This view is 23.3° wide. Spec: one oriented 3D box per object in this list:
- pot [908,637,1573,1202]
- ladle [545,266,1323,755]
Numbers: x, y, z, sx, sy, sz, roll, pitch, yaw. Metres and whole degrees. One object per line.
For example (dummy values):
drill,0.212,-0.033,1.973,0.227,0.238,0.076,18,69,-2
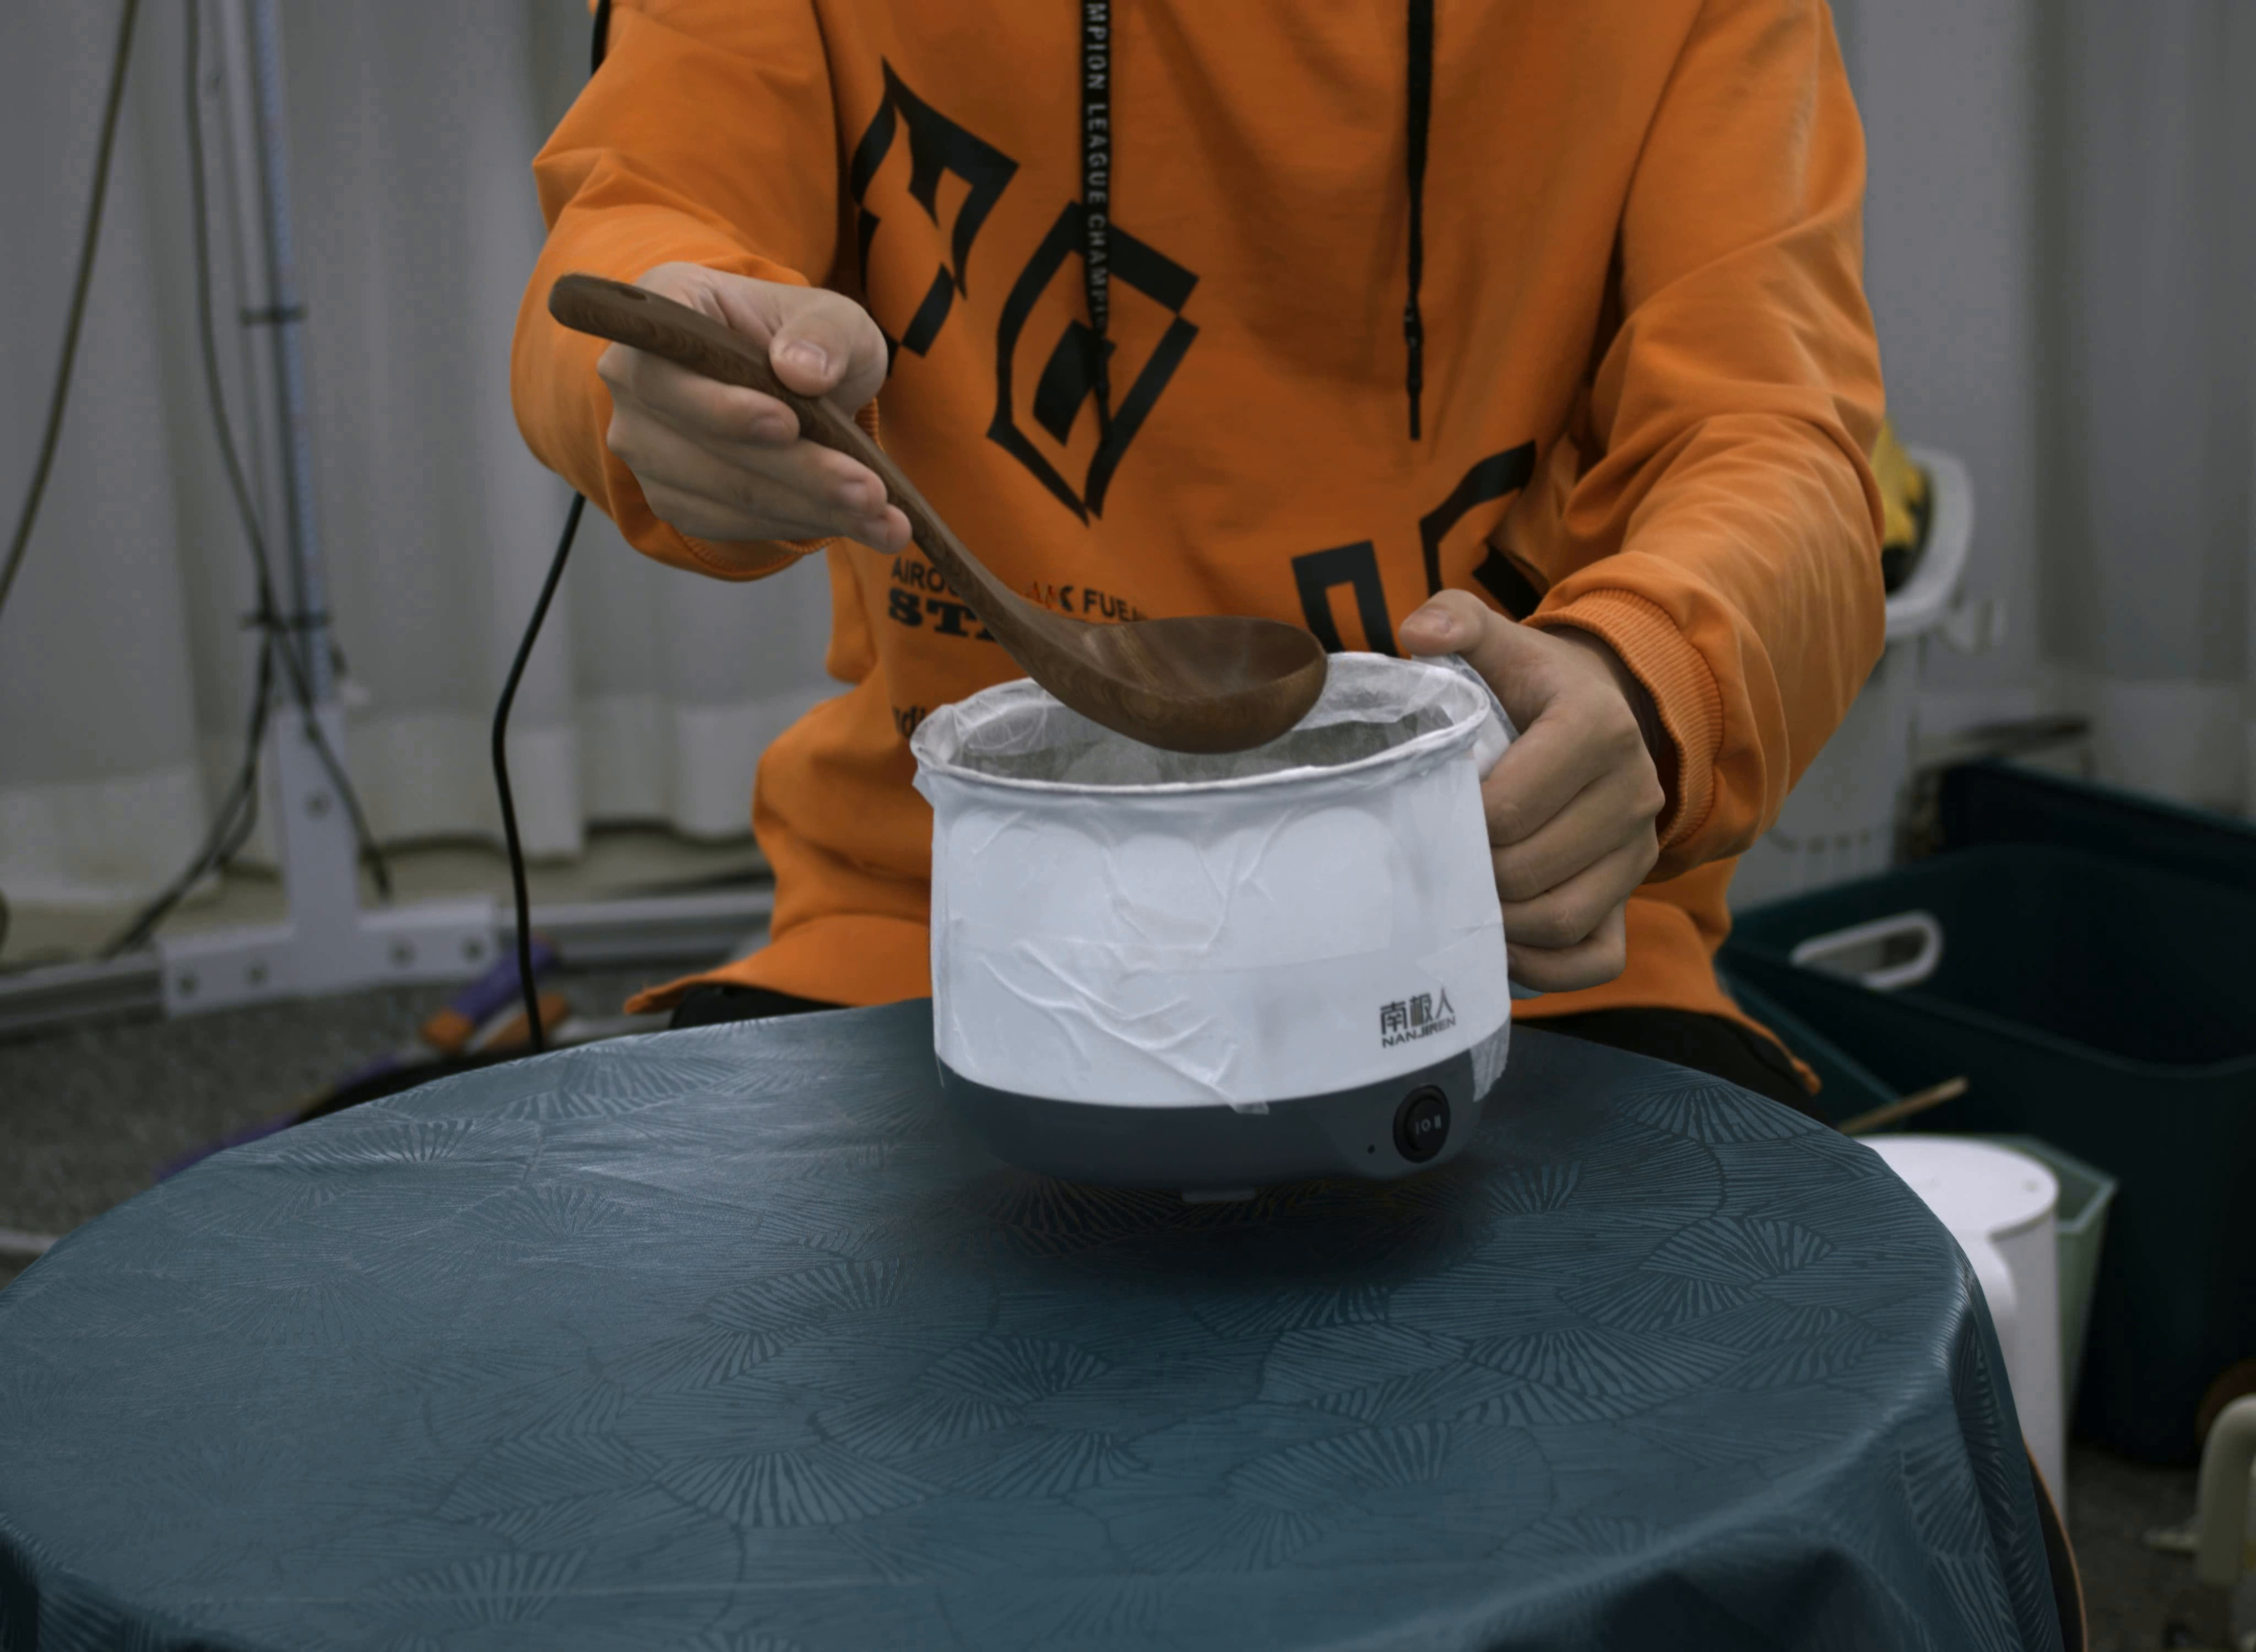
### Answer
pot,0.046,0.022,1.687,0.233,0.136,0.179,-16,18,-41
ladle,-0.055,-0.103,1.634,0.259,0.065,0.077,38,9,-12
